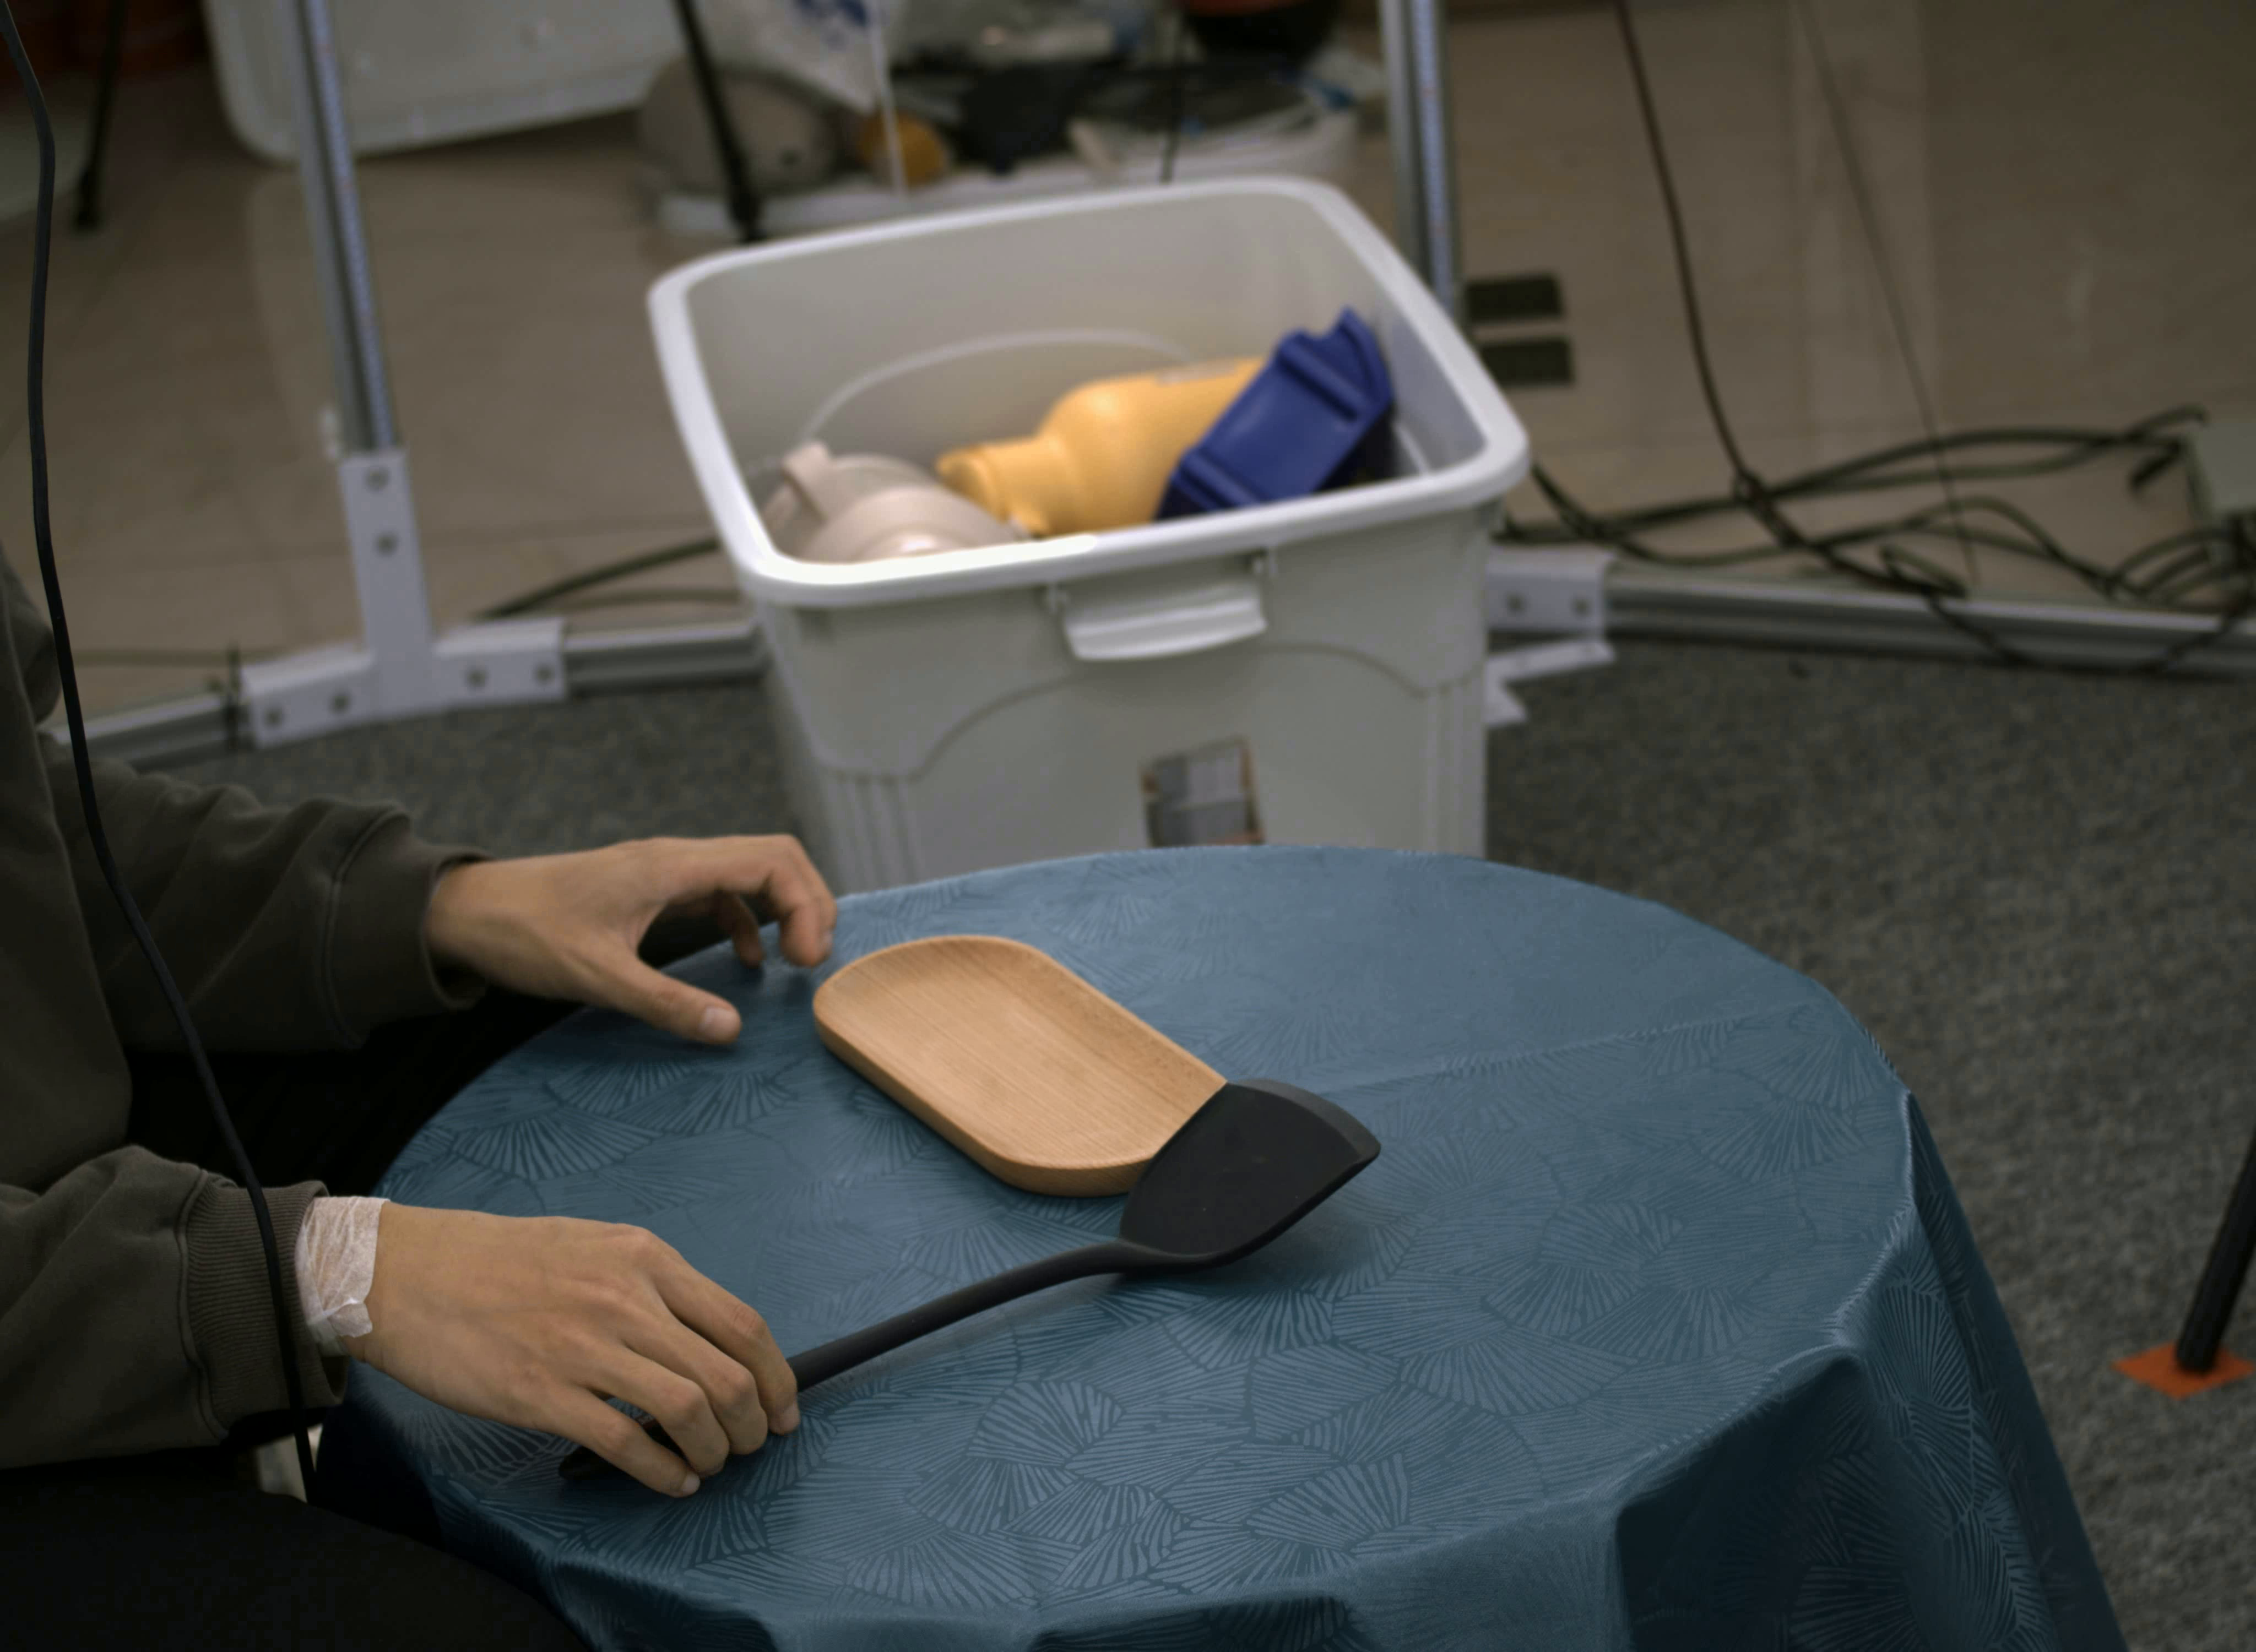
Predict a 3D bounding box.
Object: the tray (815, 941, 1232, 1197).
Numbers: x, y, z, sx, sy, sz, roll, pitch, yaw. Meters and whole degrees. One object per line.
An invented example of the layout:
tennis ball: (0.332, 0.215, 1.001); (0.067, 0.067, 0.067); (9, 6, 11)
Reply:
tray: (-0.043, 0.094, 2.234); (0.101, 0.020, 0.228); (-20, 29, -25)

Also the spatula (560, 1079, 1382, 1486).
spatula: (-0.061, 0.169, 2.054); (0.324, 0.041, 0.099); (-19, 23, -25)
